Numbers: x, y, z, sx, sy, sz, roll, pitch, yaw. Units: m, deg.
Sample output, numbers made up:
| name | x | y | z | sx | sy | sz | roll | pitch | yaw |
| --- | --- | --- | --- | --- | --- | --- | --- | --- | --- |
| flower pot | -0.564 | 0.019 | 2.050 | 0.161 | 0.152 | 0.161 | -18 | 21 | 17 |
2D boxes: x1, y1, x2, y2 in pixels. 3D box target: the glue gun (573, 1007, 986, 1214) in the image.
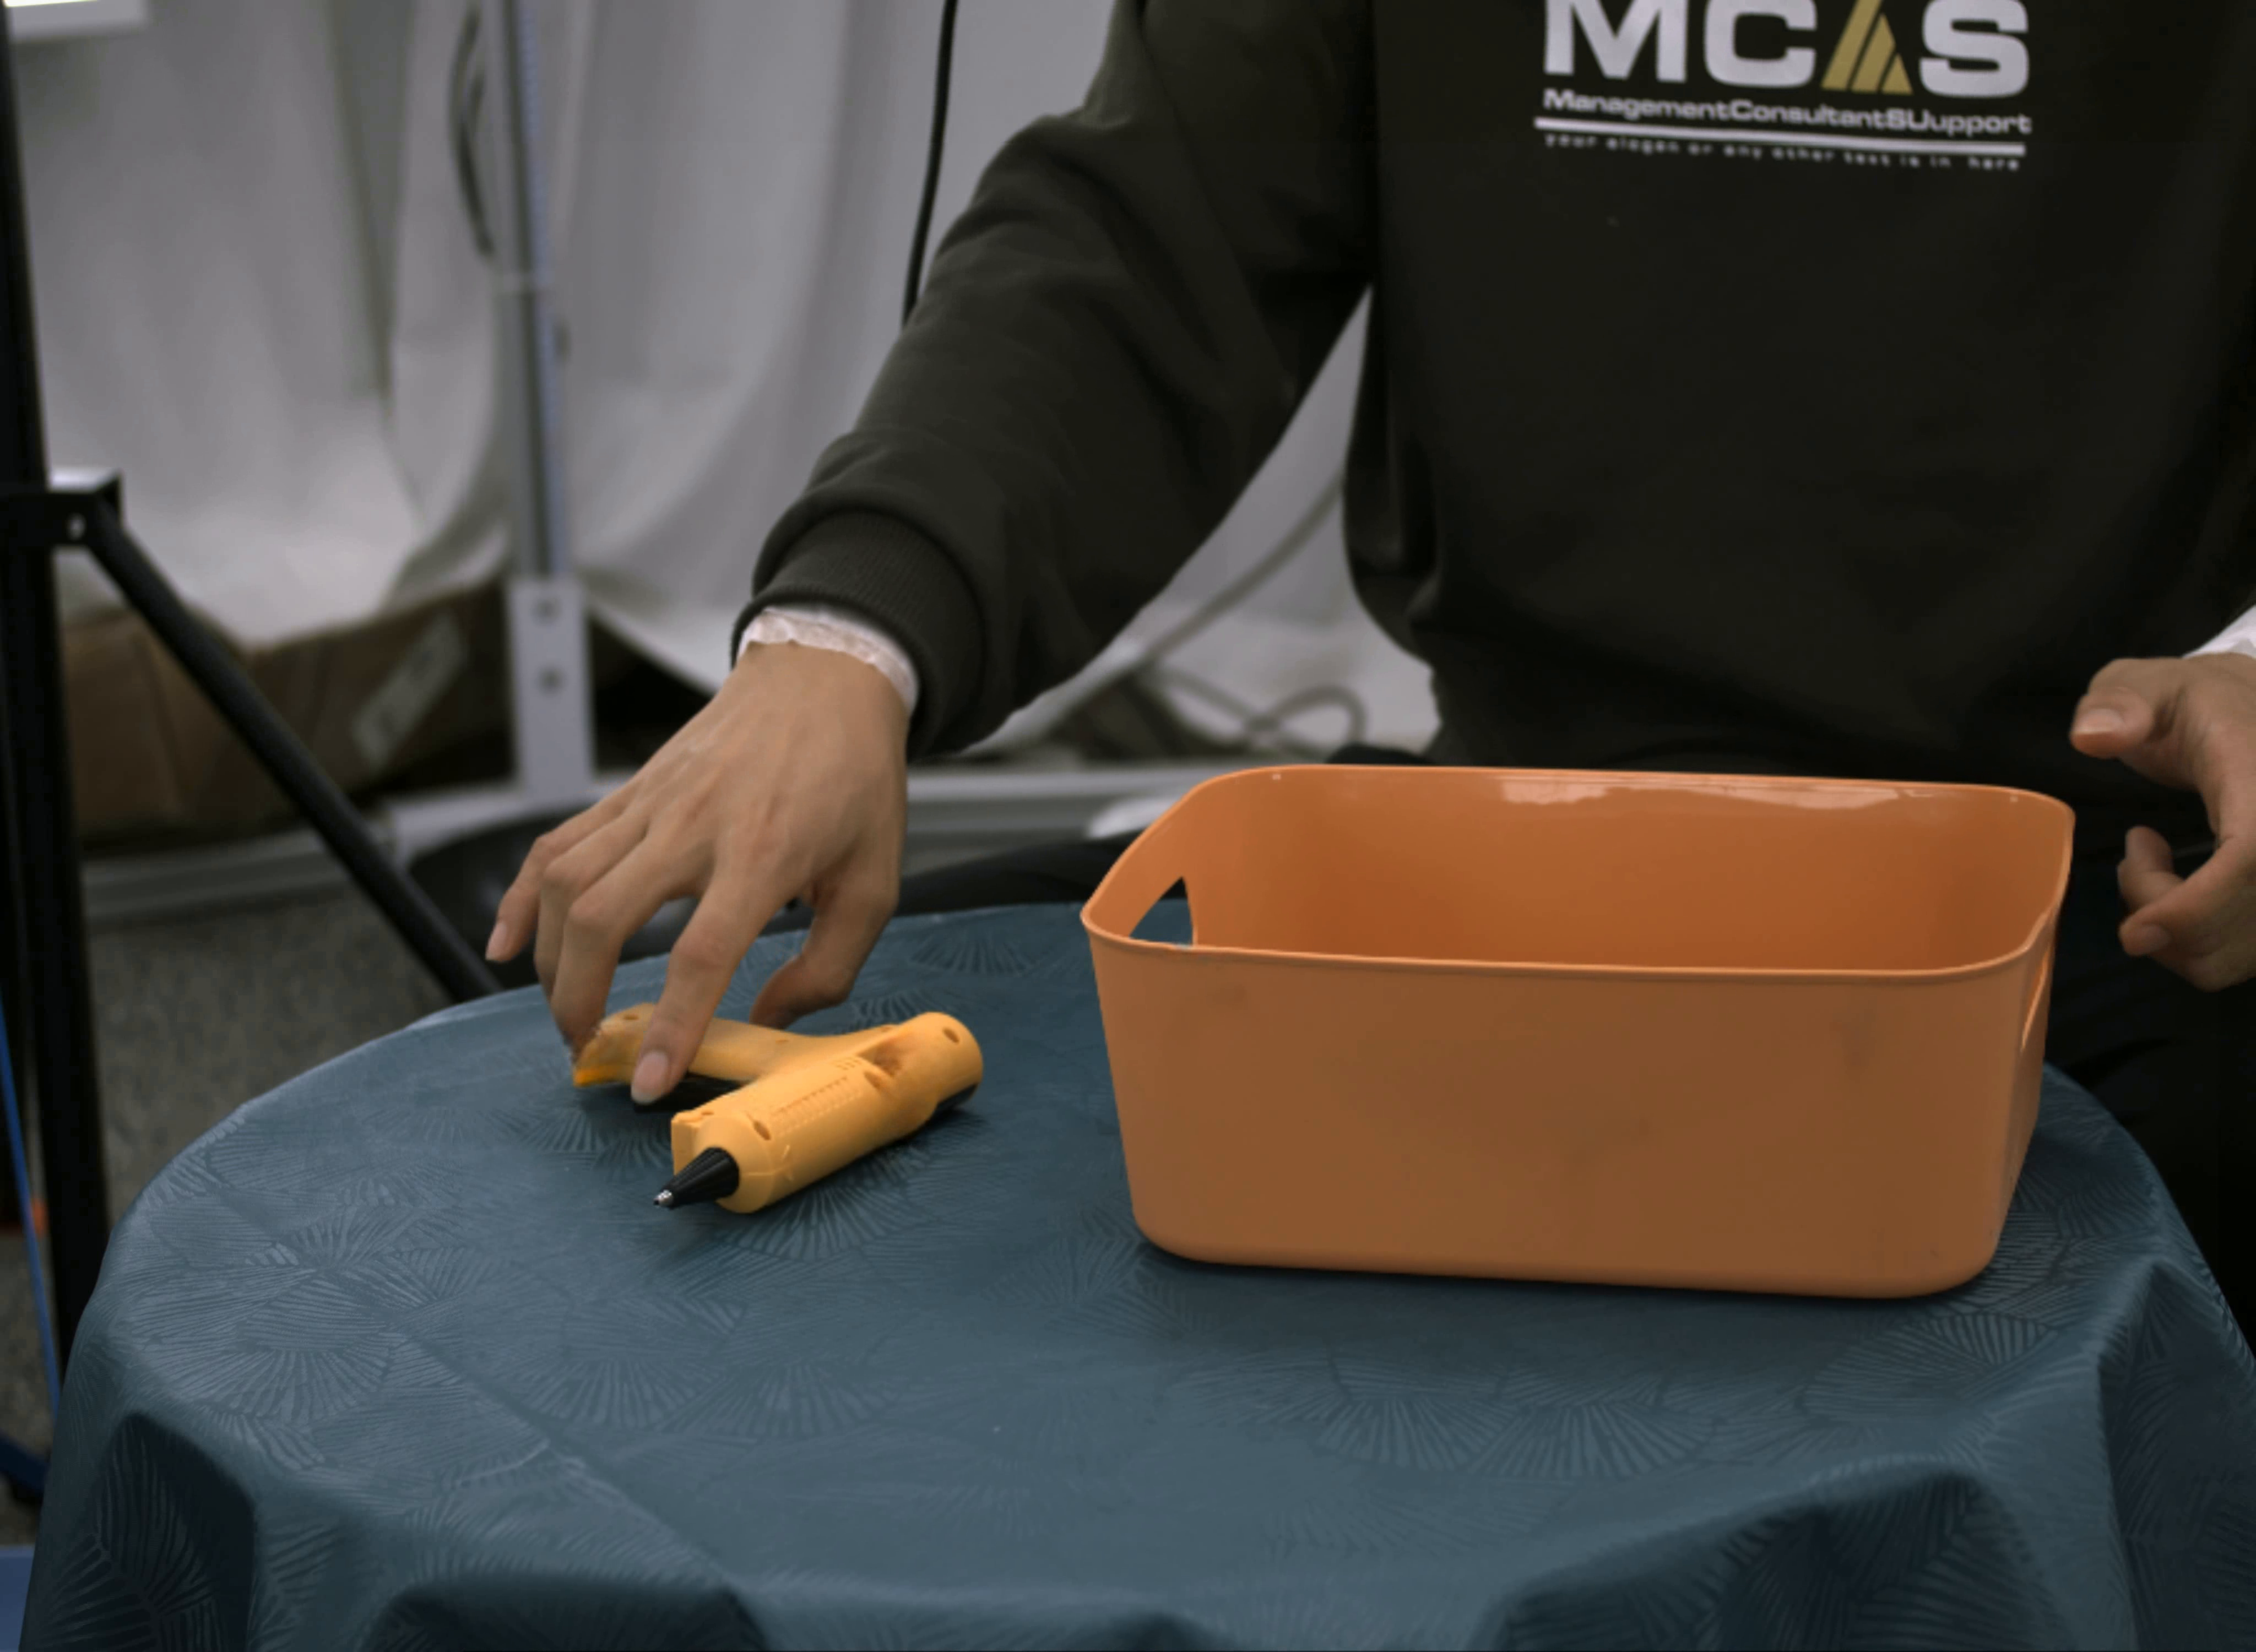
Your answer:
| name | x | y | z | sx | sy | sz | roll | pitch | yaw |
| --- | --- | --- | --- | --- | --- | --- | --- | --- | --- |
| glue gun | -0.134 | 0.087 | 1.606 | 0.135 | 0.031 | 0.148 | 5 | 15 | 29 |

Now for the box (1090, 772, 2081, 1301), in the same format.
| name | x | y | z | sx | sy | sz | roll | pitch | yaw |
| --- | --- | --- | --- | --- | --- | --- | --- | --- | --- |
| box | 0.135 | 0.059 | 1.524 | 0.275 | 0.102 | 0.198 | 2 | 15 | 16 |
